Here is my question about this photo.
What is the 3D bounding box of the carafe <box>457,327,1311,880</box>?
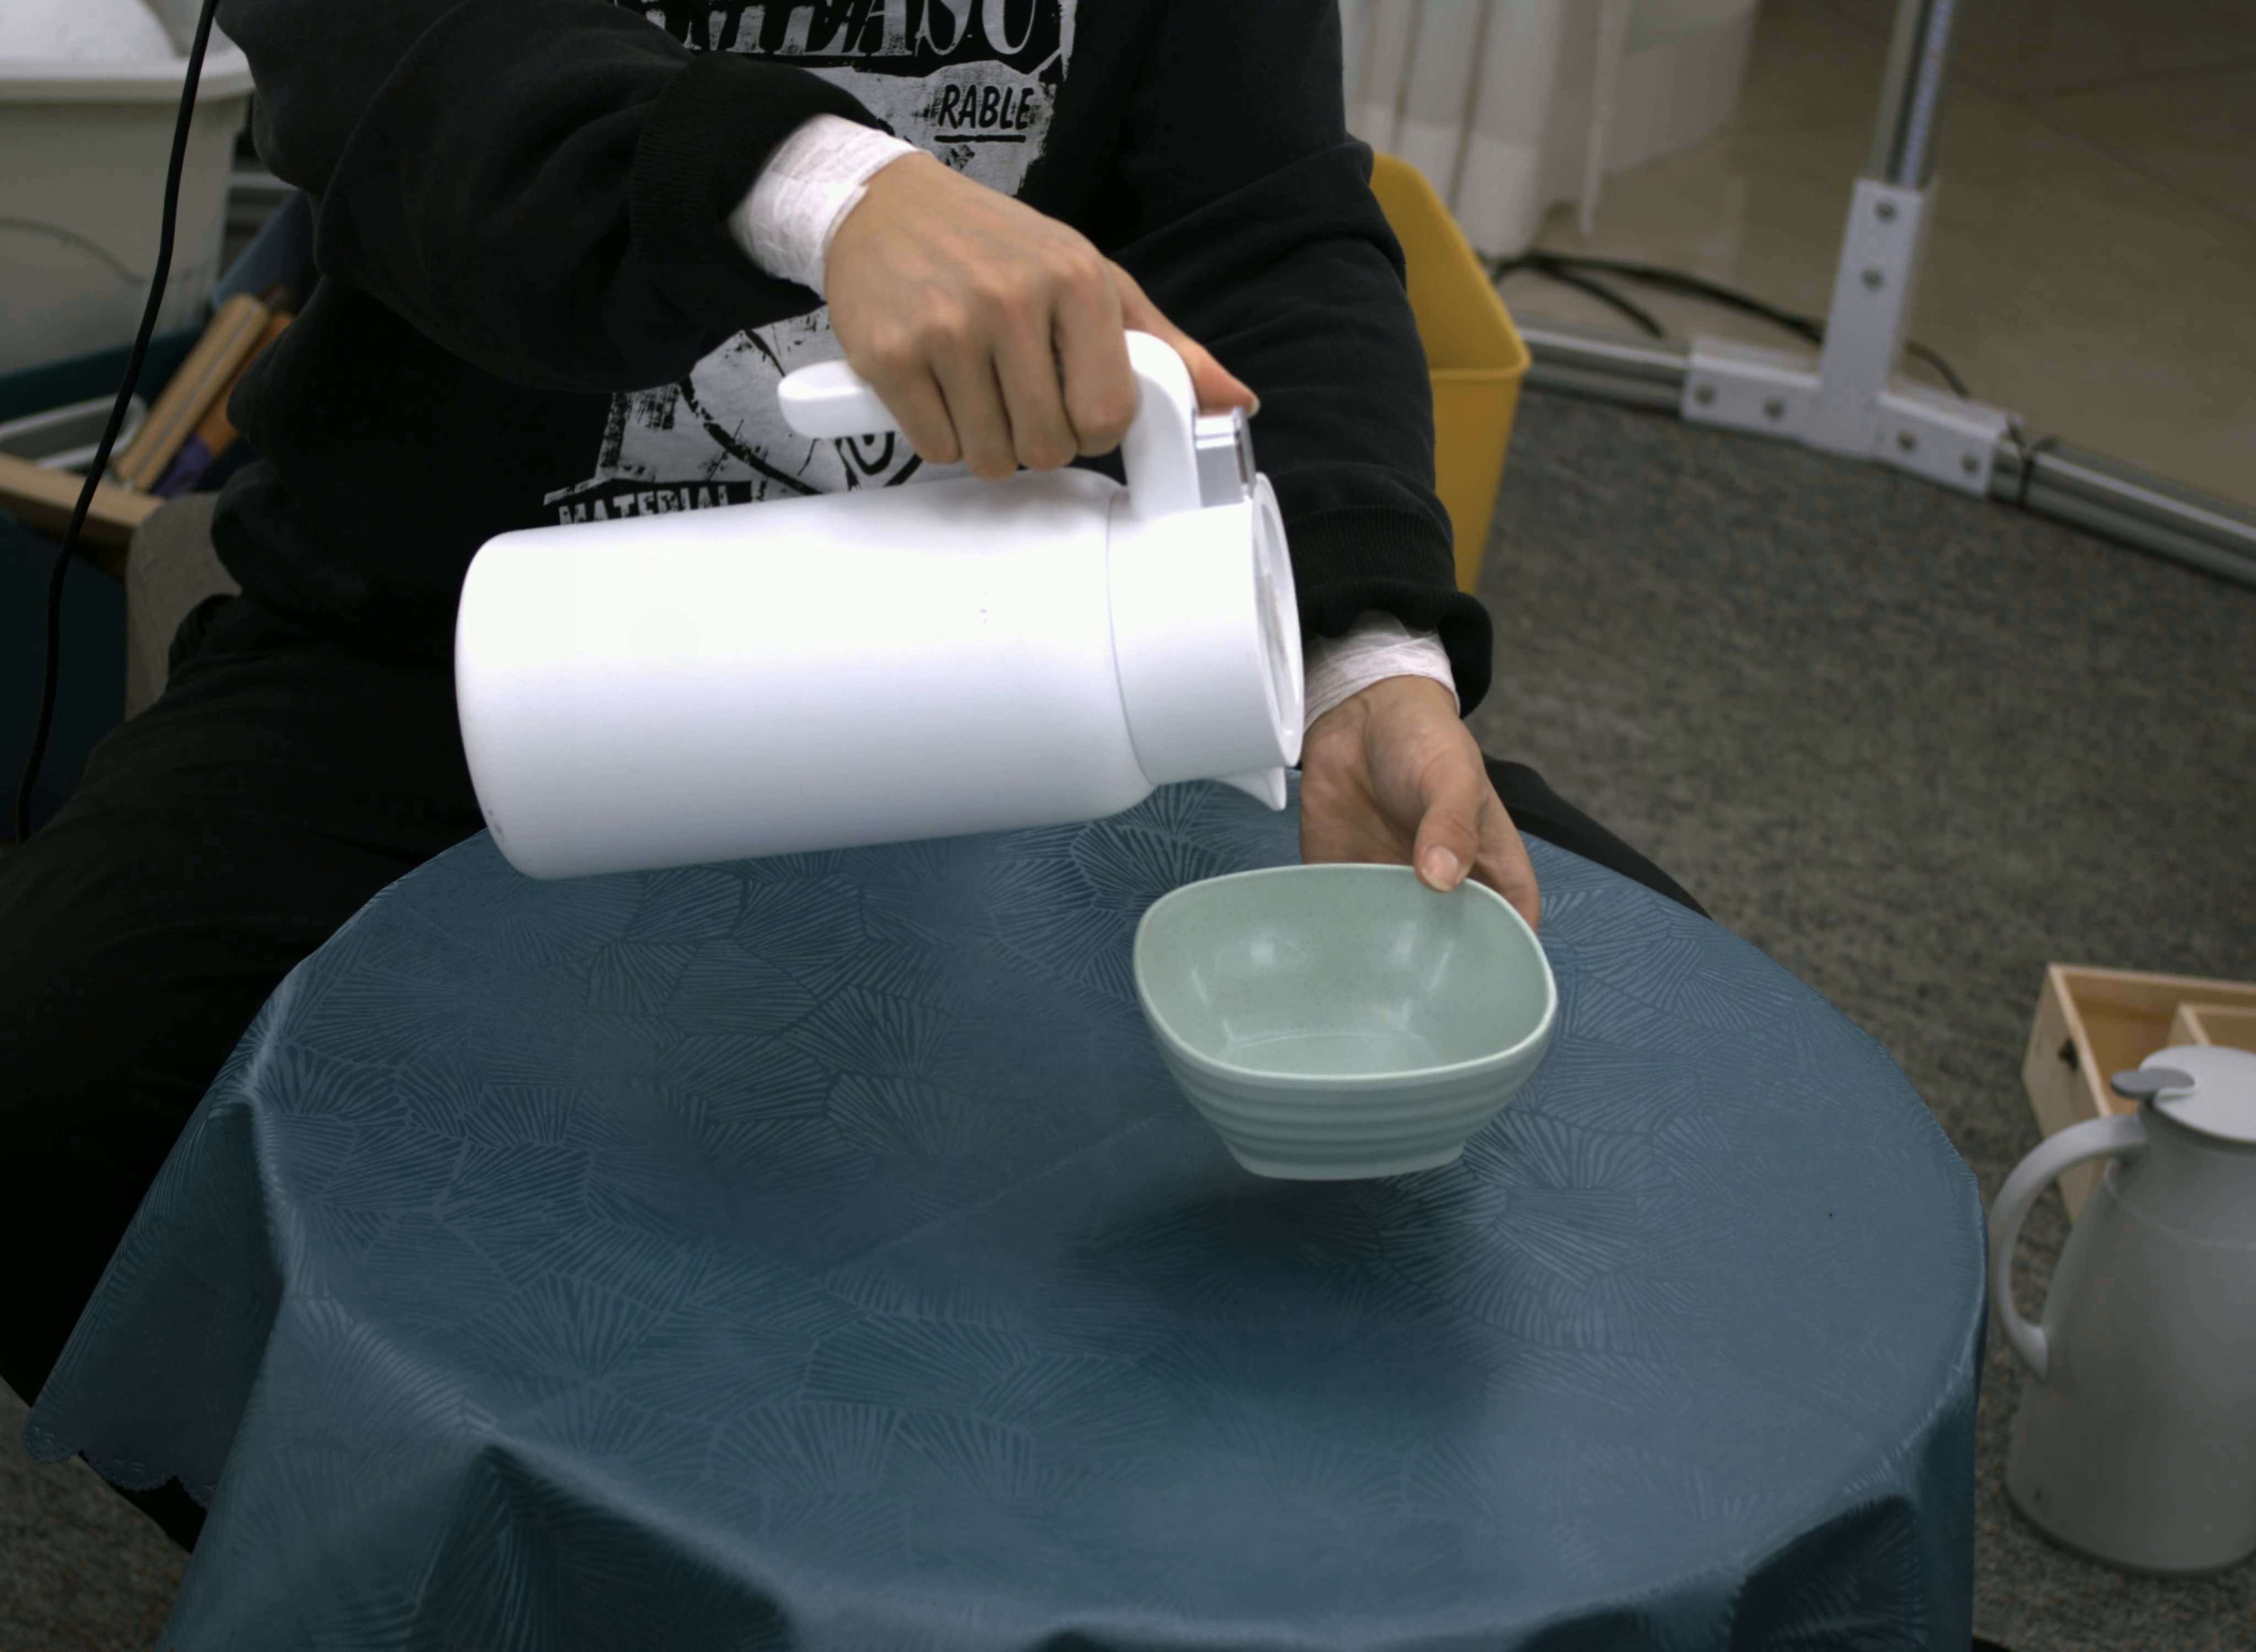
[{"bbox_3d":[-0.083,-0.068,1.747,0.269,0.172,0.124,-6,27,12],"label":"carafe"}]

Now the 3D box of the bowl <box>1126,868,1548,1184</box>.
[{"bbox_3d":[0.069,0.073,1.779,0.151,0.058,0.152,1,29,-1],"label":"bowl"}]
